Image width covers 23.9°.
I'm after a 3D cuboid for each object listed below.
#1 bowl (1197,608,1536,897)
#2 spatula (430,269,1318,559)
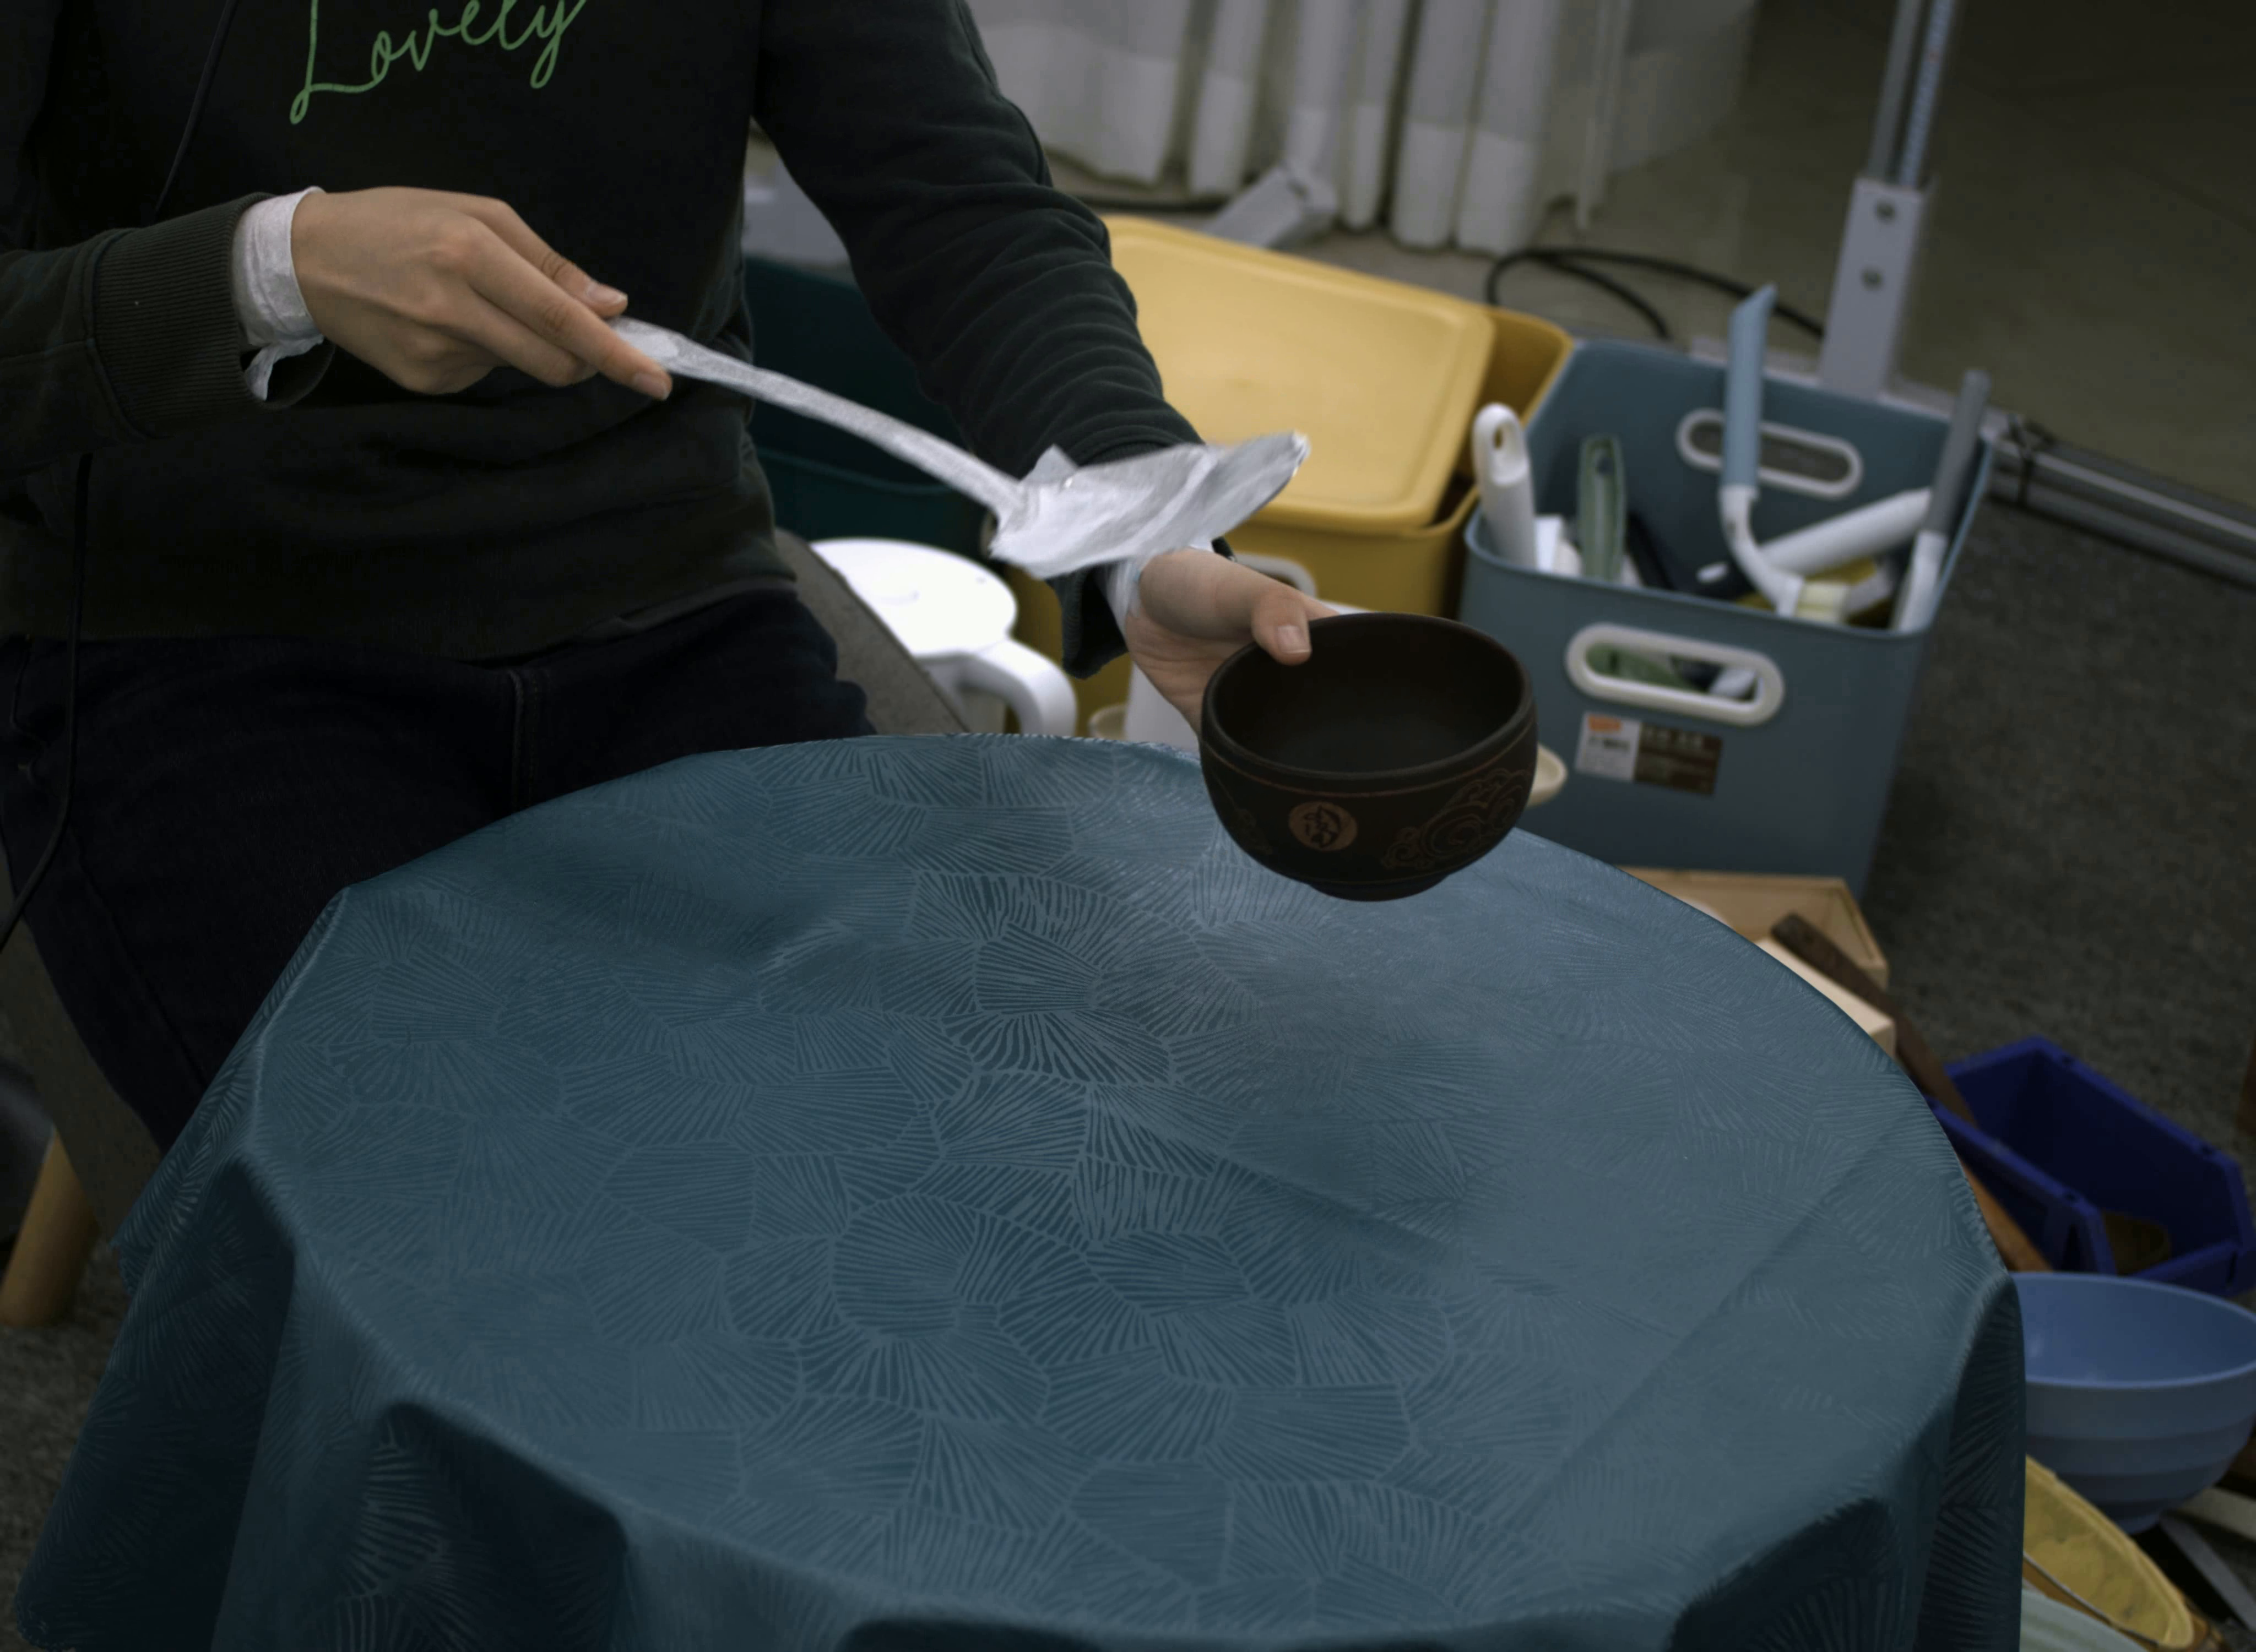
[{"bbox_3d":[0.084,-0.019,1.853,0.118,0.069,0.119,-4,30,2],"label":"bowl"},{"bbox_3d":[-0.105,-0.153,1.839,0.366,0.044,0.098,20,41,26],"label":"spatula"}]
